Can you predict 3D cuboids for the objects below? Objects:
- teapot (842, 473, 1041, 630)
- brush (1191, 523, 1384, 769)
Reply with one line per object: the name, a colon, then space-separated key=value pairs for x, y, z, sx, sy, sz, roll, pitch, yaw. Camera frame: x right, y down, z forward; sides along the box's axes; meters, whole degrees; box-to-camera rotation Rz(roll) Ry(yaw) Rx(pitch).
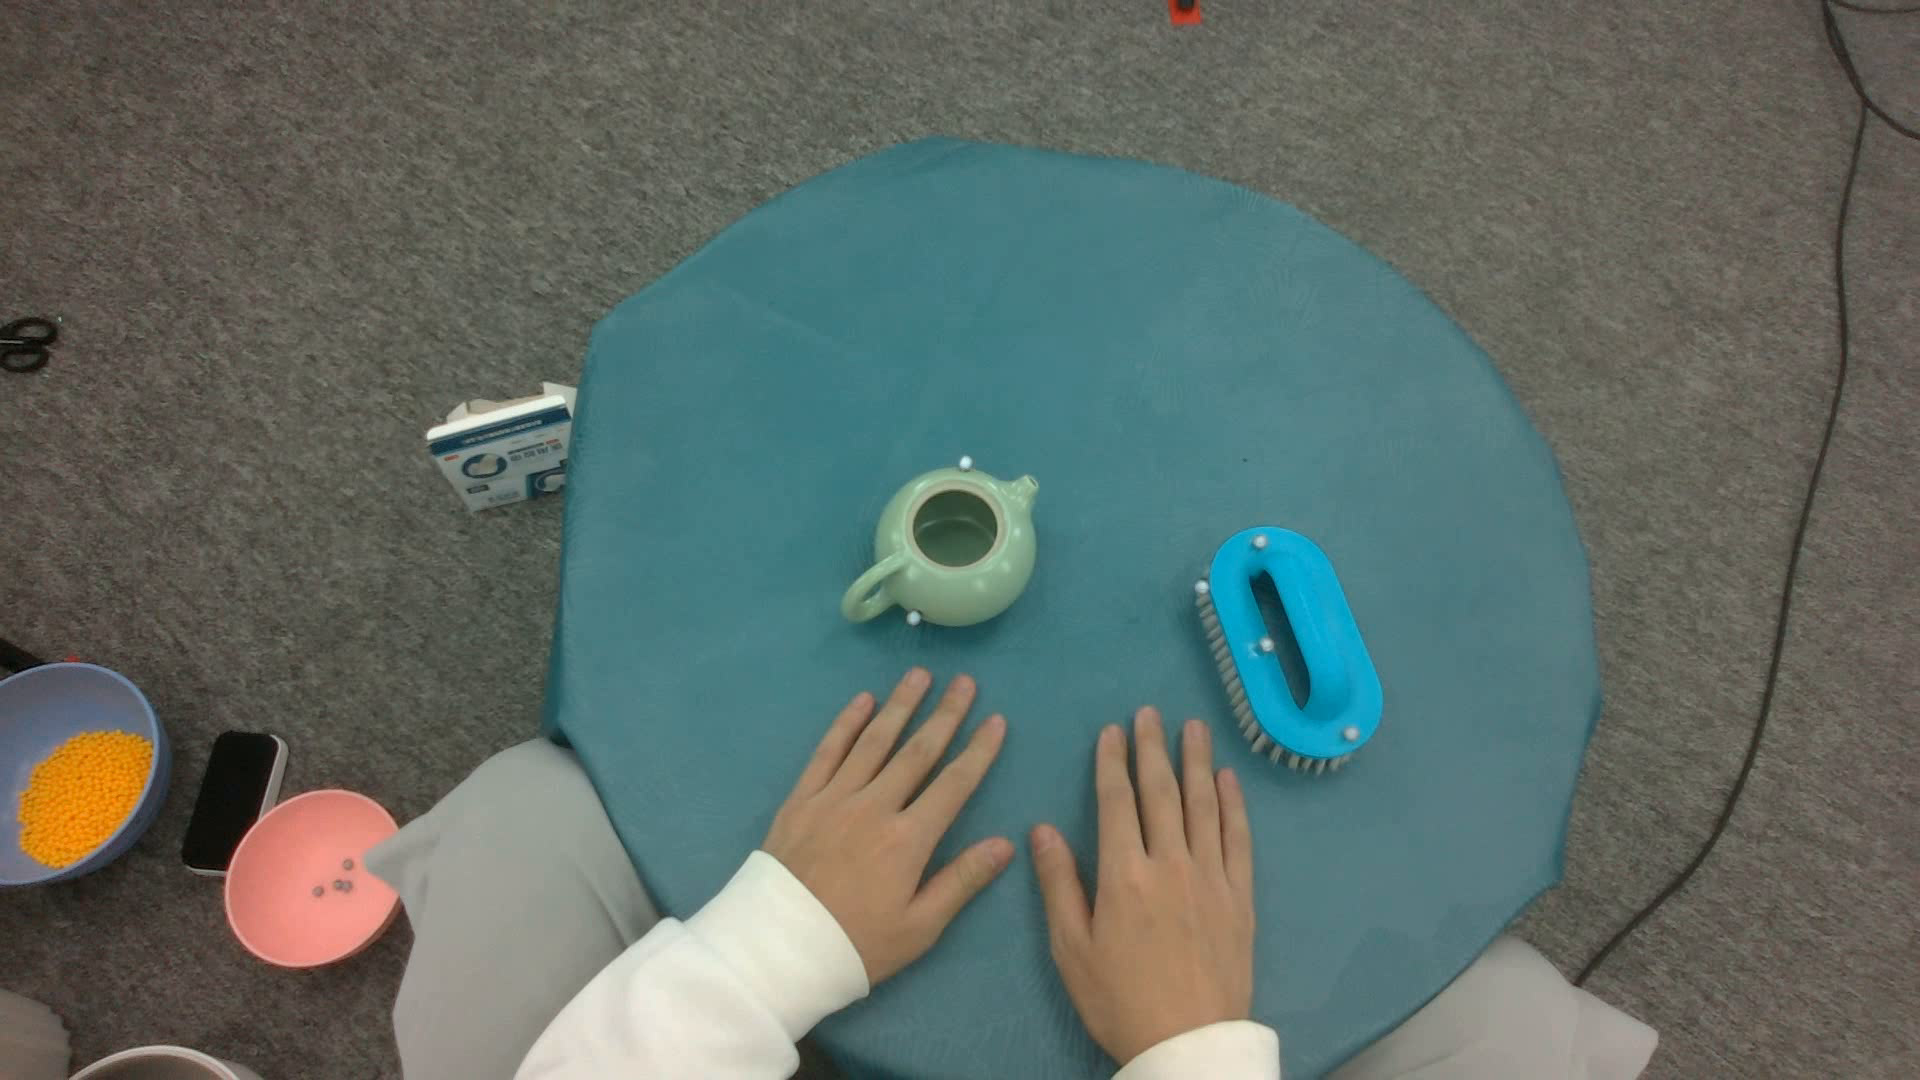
teapot: x=-0.010 y=0.011 z=0.786 sx=0.129 sy=0.061 sz=0.091 roll=-28 pitch=71 yaw=-12
brush: x=0.187 y=0.051 z=0.767 sx=0.084 sy=0.063 sz=0.142 roll=-10 pitch=66 yaw=-12
